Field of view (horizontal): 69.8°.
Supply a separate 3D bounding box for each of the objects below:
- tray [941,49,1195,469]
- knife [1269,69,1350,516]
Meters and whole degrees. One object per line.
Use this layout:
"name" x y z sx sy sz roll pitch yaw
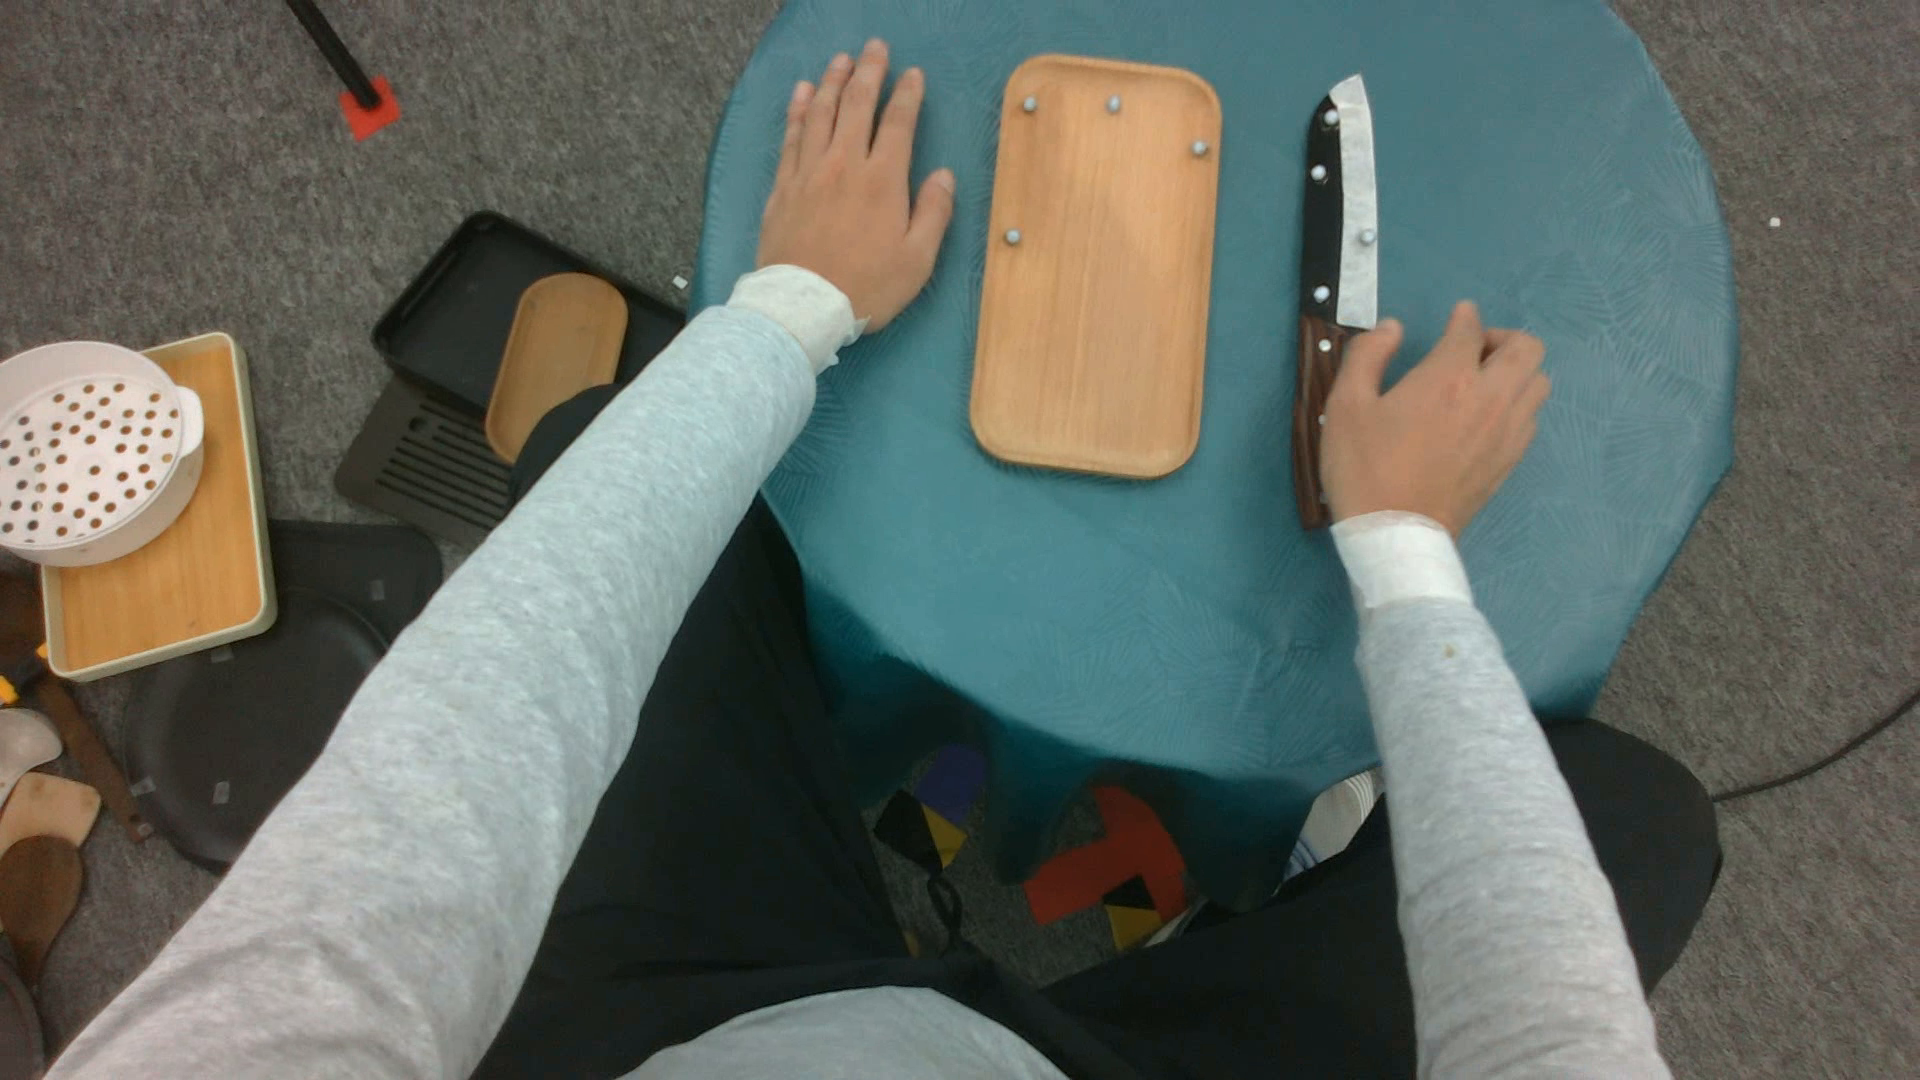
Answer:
"tray" 0.064 -0.162 0.779 0.130 0.023 0.251 7 75 0
"knife" 0.199 -0.149 0.785 0.050 0.020 0.290 10 71 -6
